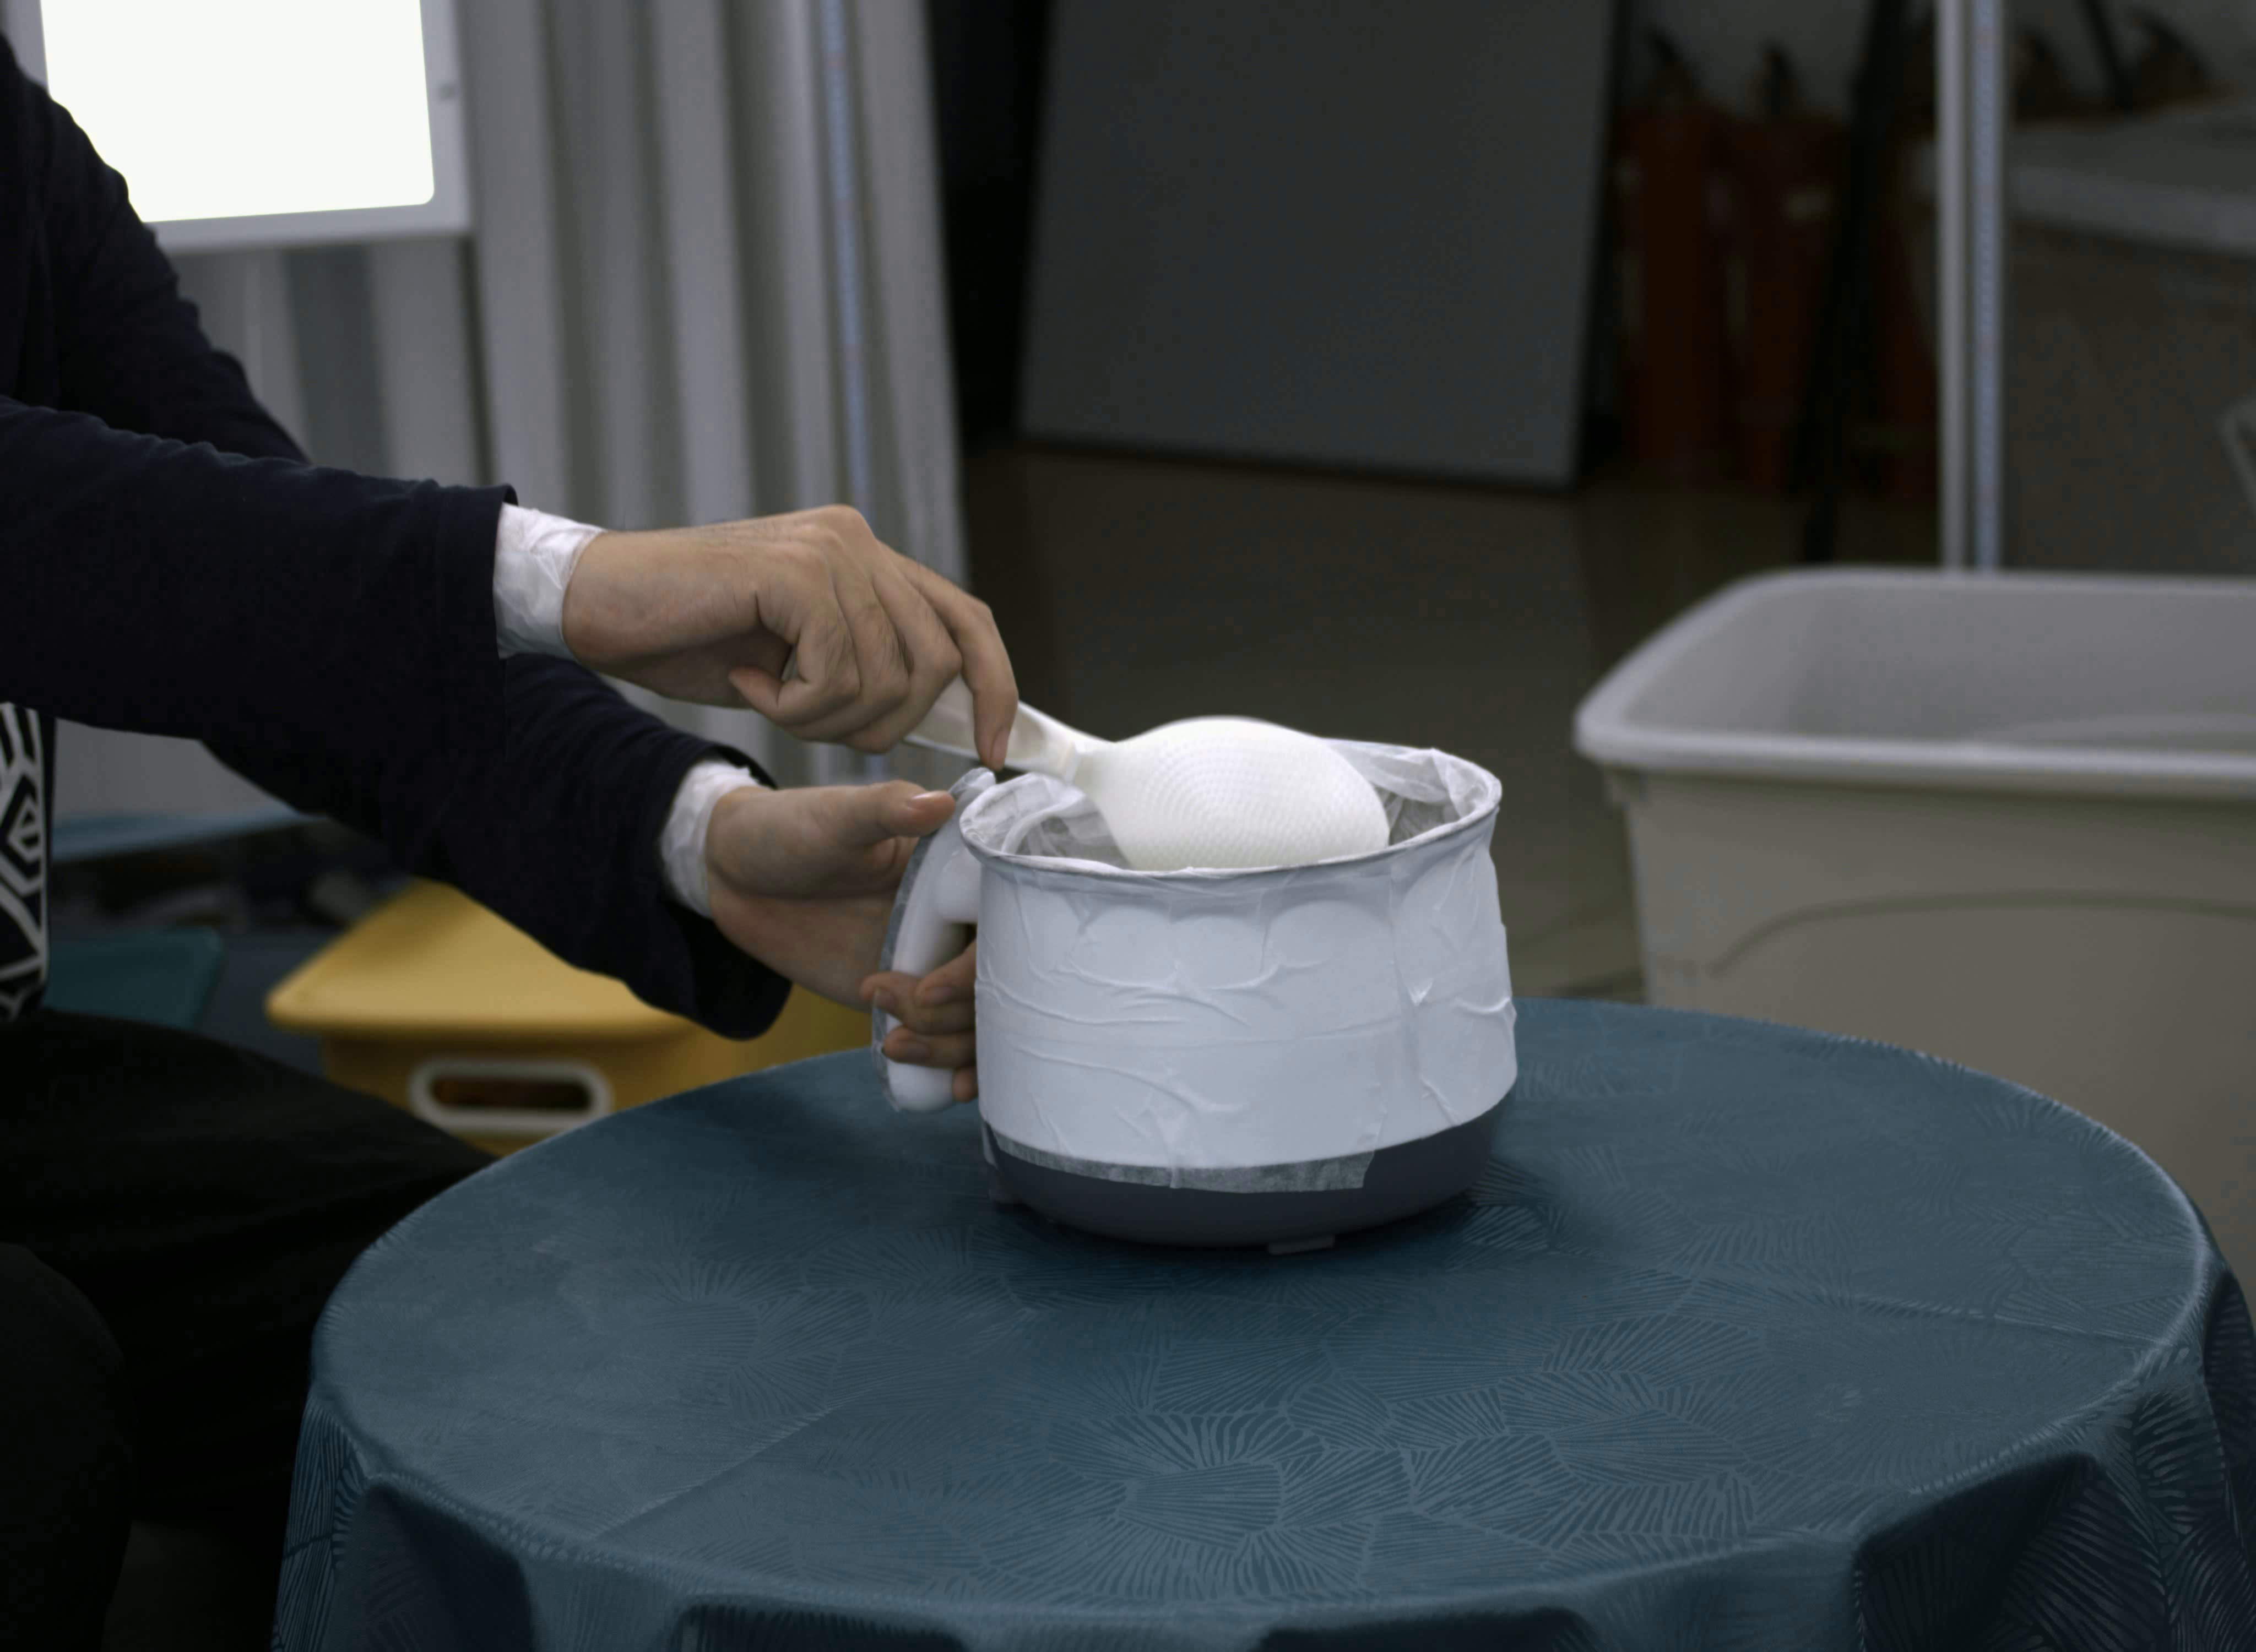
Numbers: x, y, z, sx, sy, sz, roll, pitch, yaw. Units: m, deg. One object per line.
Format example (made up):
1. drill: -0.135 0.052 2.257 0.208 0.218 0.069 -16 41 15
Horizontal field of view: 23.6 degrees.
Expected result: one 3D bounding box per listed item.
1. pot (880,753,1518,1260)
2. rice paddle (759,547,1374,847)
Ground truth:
1. pot: 0.015 0.055 1.765 0.235 0.138 0.175 3 13 34
2. rice paddle: -0.017 -0.037 1.697 0.202 0.069 0.029 20 9 -10
